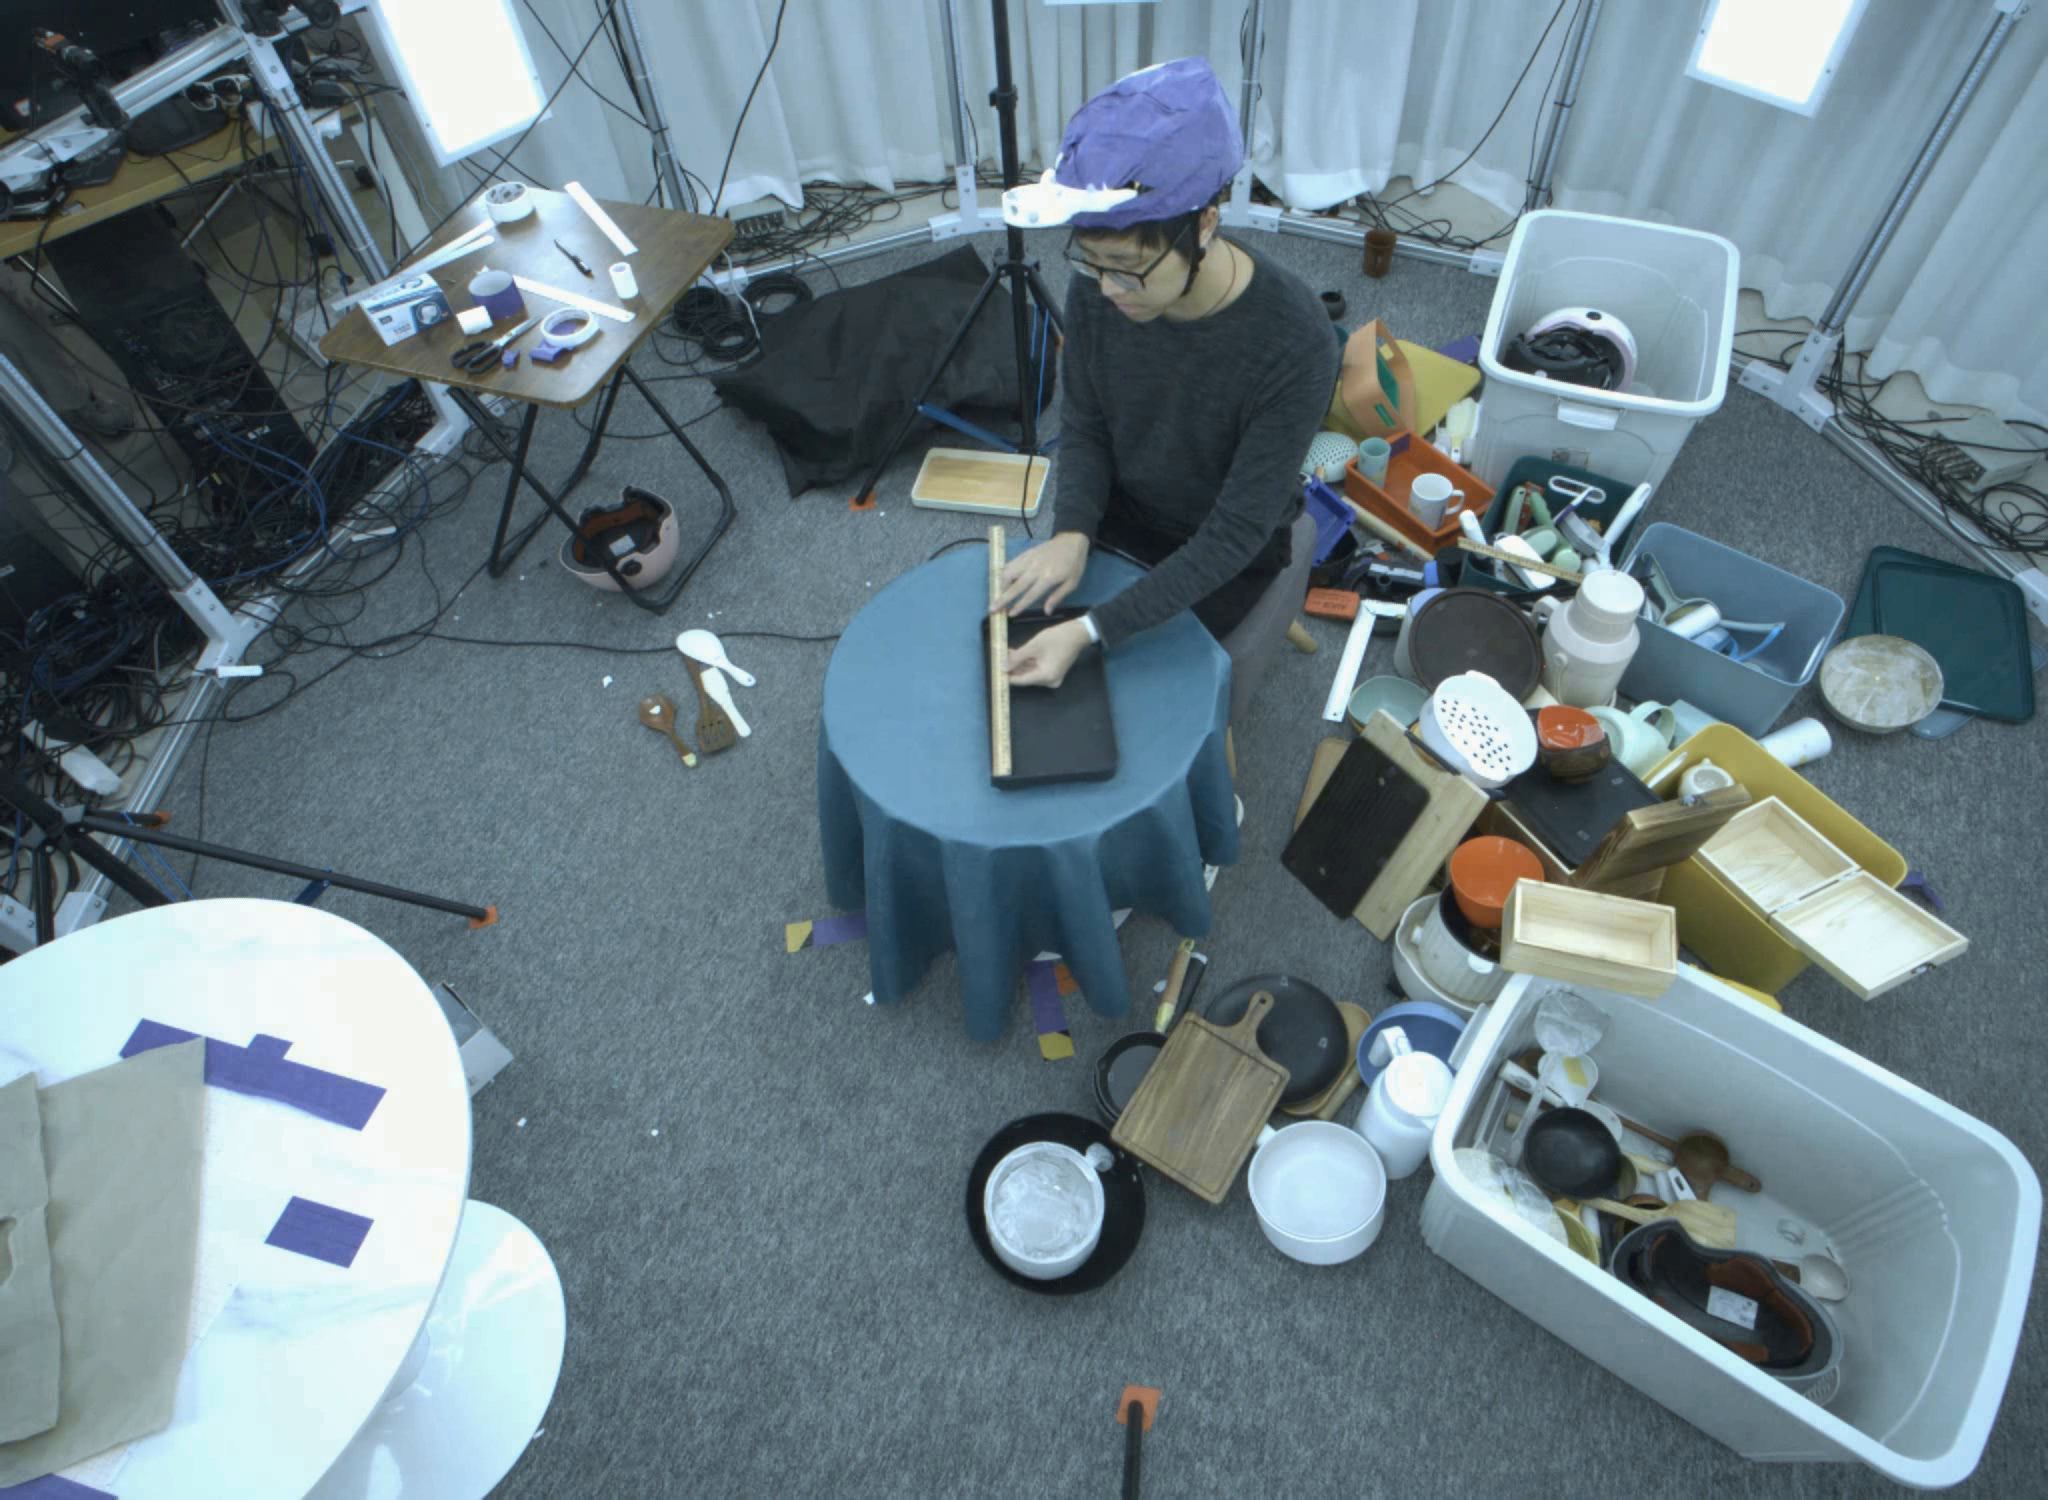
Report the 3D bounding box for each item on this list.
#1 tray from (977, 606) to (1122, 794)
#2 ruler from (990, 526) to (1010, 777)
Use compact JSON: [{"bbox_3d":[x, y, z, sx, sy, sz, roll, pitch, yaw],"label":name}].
[{"bbox_3d":[0.034,-0.079,1.821,0.185,0.037,0.314,-6,54,-2],"label":"tray"},{"bbox_3d":[-0.038,-0.164,1.860,0.027,0.006,0.495,-1,55,-1],"label":"ruler"}]
